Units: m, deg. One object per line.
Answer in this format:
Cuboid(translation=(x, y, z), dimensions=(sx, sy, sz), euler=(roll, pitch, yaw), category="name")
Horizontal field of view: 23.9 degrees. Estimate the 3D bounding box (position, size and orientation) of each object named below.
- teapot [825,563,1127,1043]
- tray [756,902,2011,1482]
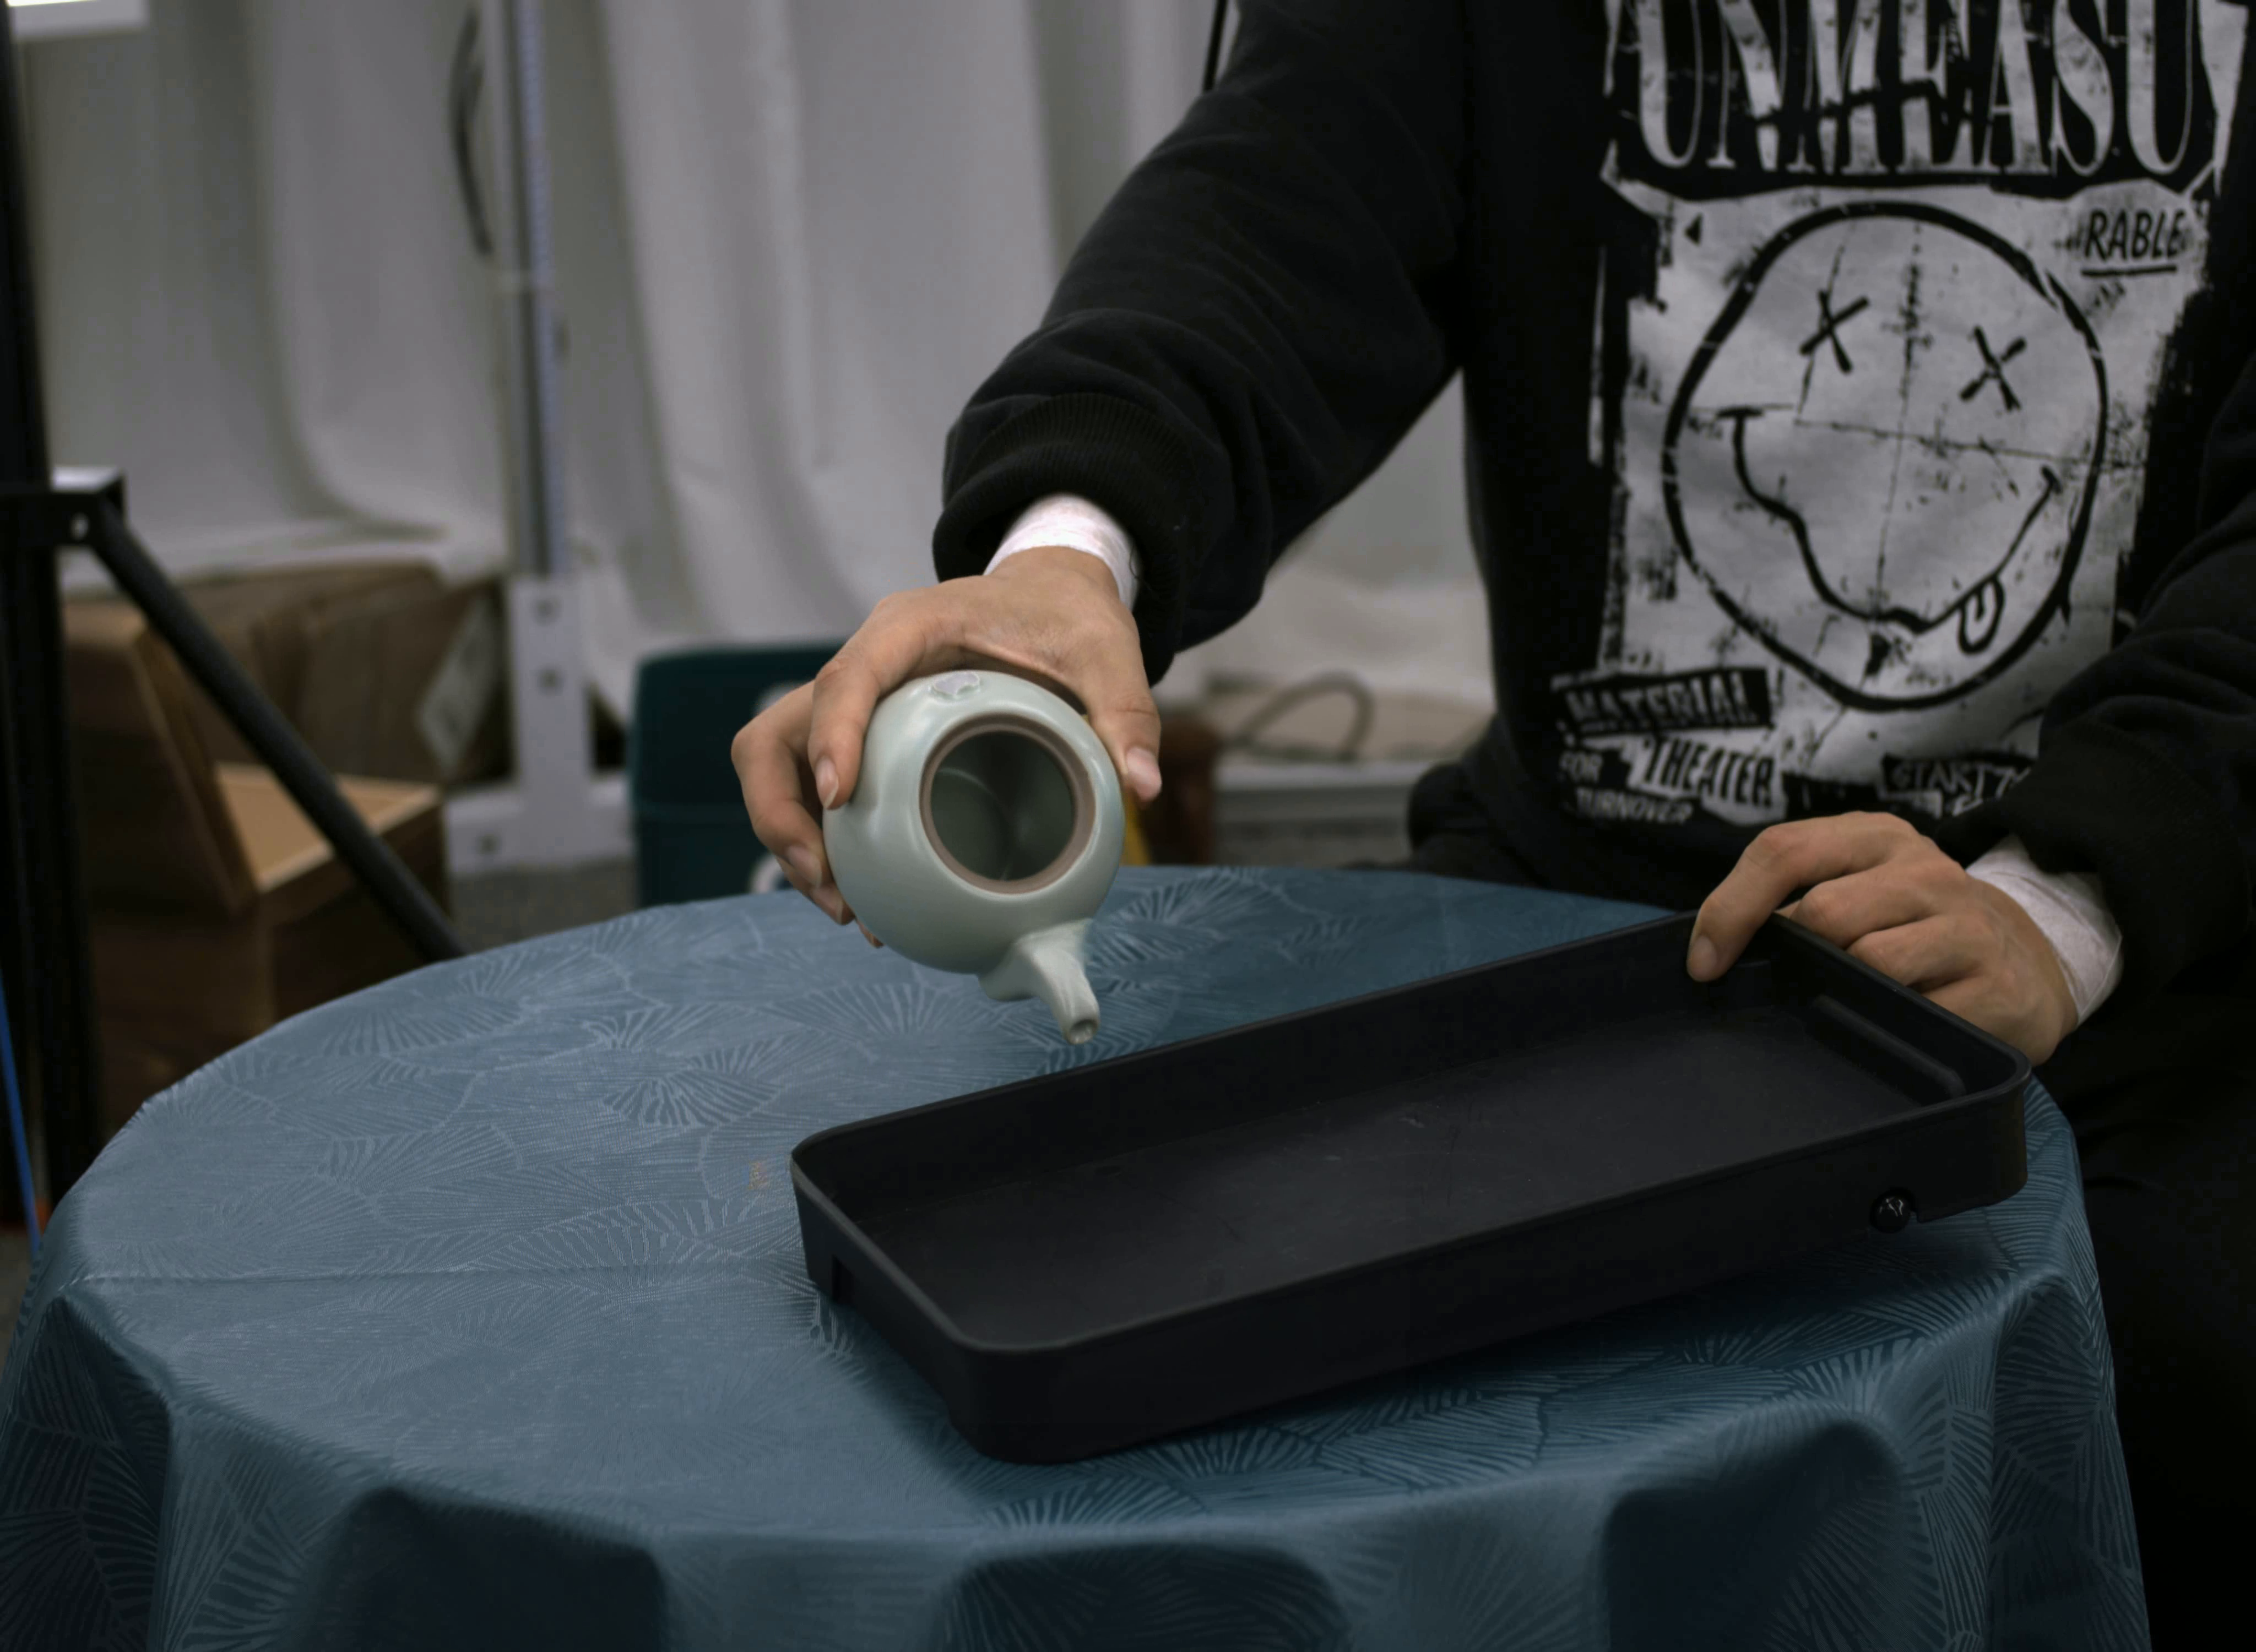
Cuboid(translation=(-0.043, -0.003, 1.534), dimensions=(0.087, 0.145, 0.075), euler=(-15, -4, -21), category="teapot")
Cuboid(translation=(0.071, 0.096, 1.468), dimensions=(0.312, 0.037, 0.188), euler=(-14, 20, -19), category="tray")
